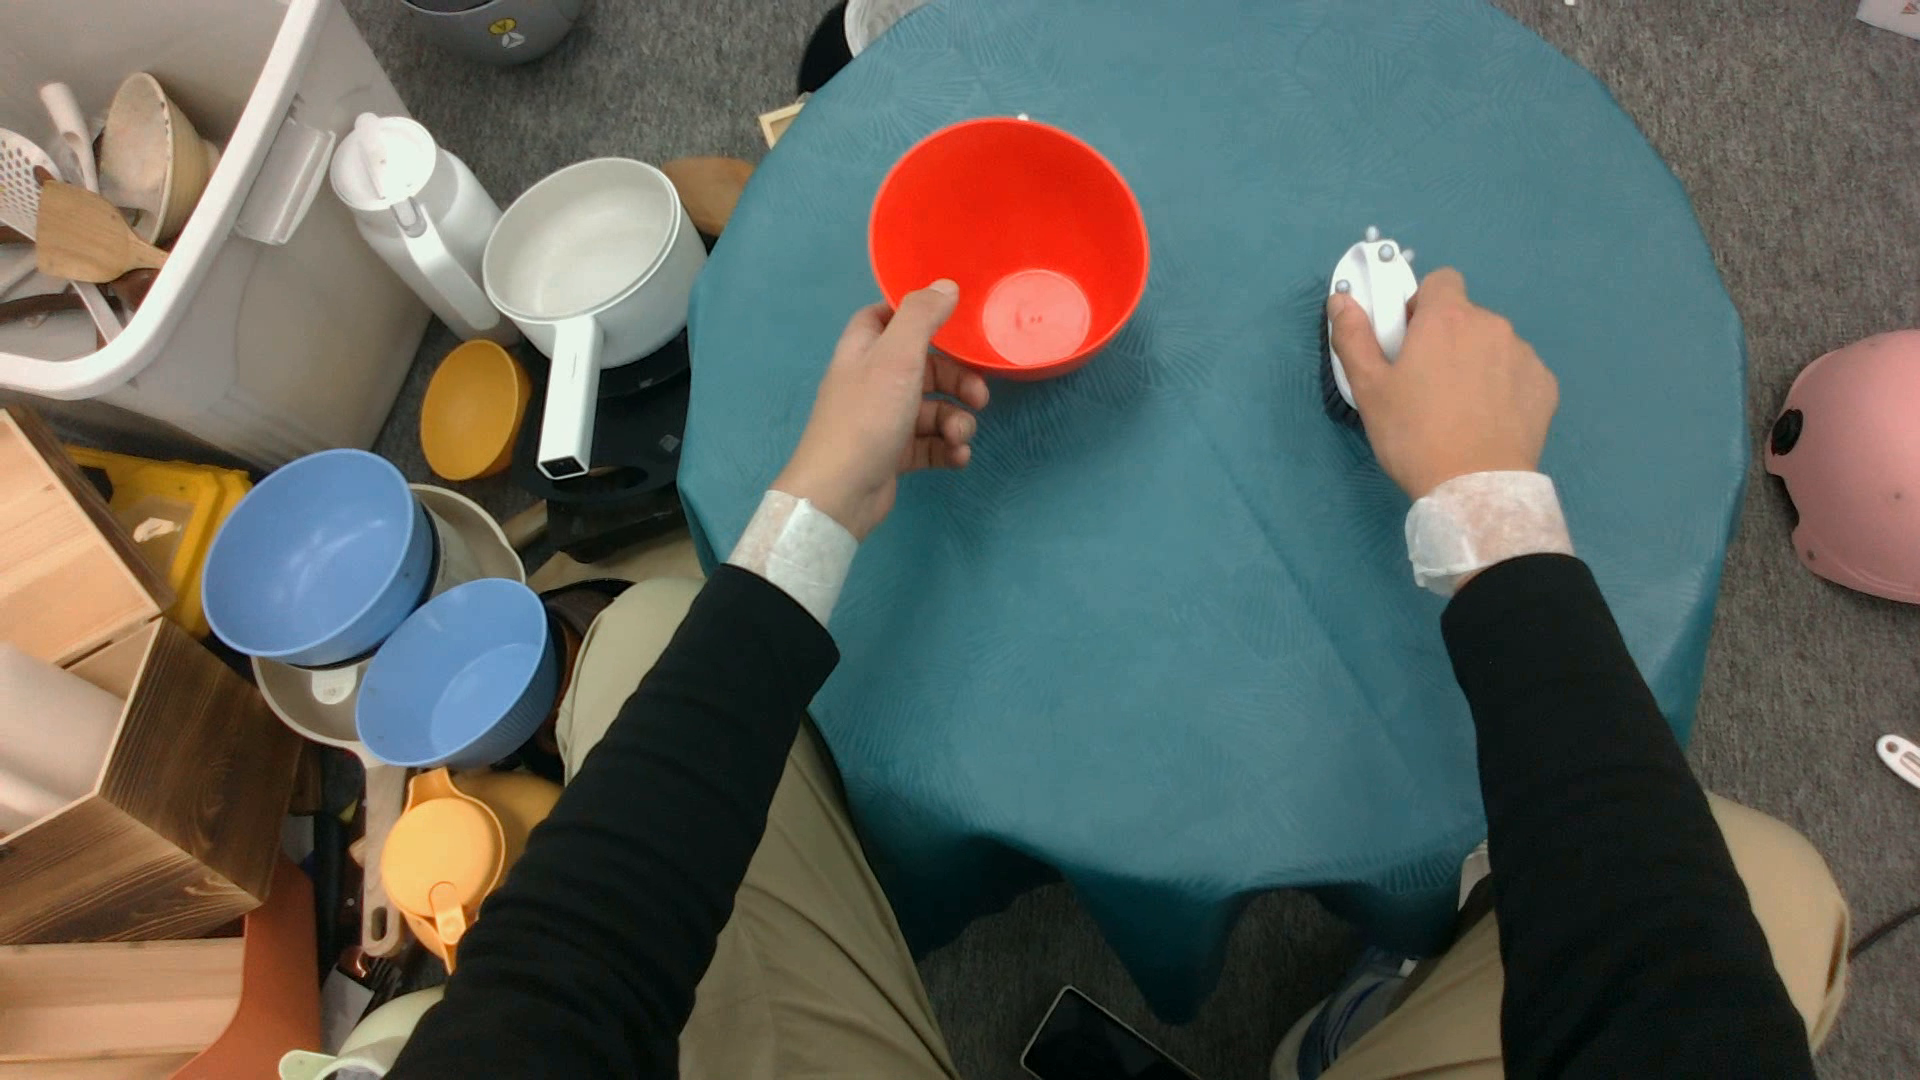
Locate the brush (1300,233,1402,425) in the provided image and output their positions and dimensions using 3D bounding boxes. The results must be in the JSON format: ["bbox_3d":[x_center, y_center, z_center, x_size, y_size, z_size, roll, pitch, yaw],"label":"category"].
[{"bbox_3d":[0.218,-0.122,0.756,0.050,0.072,0.099,3,72,5],"label":"brush"}]

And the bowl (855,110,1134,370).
[{"bbox_3d":[0.021,-0.152,0.769,0.148,0.104,0.148,-1,73,3],"label":"bowl"}]
